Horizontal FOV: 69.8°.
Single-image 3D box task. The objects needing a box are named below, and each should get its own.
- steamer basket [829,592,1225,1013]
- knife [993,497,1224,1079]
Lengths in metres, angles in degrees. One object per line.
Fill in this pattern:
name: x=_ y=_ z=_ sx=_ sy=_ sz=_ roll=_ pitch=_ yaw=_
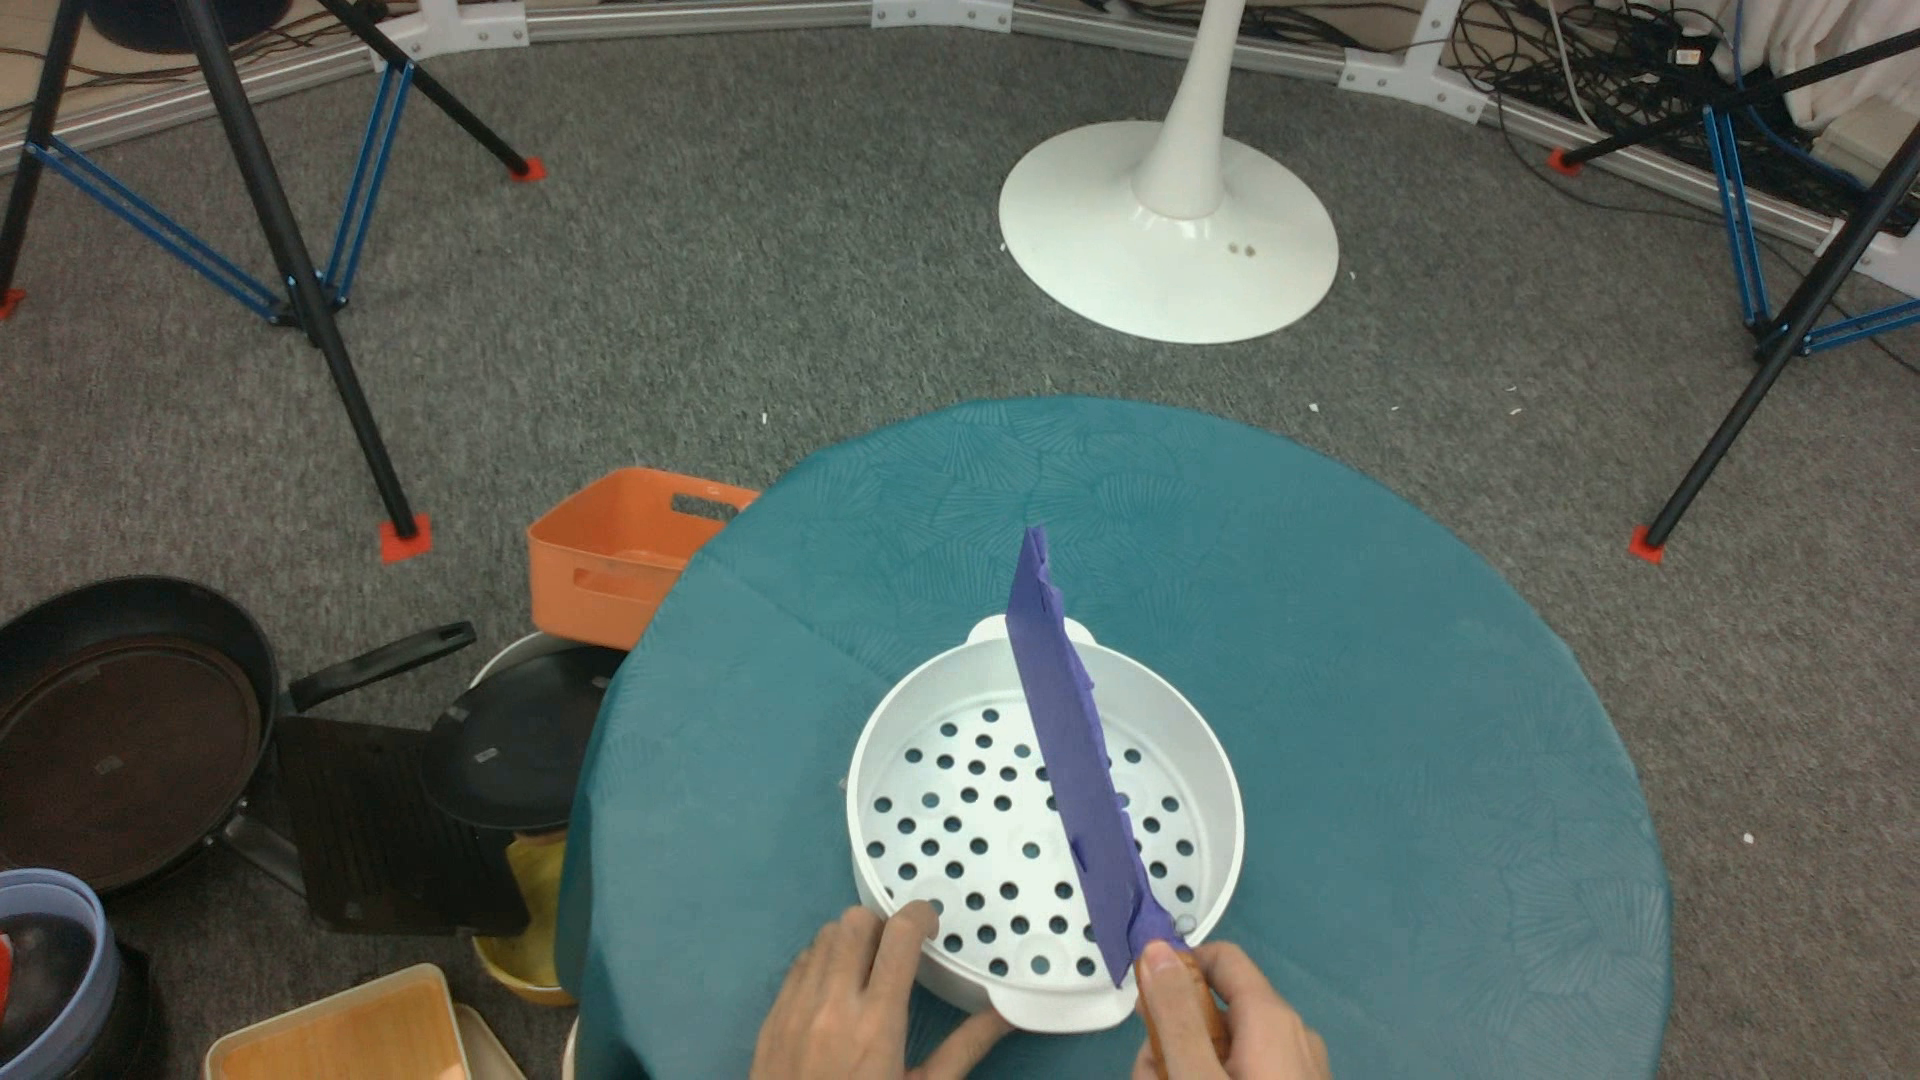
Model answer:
steamer basket: x=0.032 y=0.138 z=0.720 sx=0.202 sy=0.069 sz=0.231 roll=0 pitch=54 yaw=-6
knife: x=0.061 y=0.131 z=0.626 sx=0.032 sy=0.103 sz=0.316 roll=-6 pitch=54 yaw=-11
